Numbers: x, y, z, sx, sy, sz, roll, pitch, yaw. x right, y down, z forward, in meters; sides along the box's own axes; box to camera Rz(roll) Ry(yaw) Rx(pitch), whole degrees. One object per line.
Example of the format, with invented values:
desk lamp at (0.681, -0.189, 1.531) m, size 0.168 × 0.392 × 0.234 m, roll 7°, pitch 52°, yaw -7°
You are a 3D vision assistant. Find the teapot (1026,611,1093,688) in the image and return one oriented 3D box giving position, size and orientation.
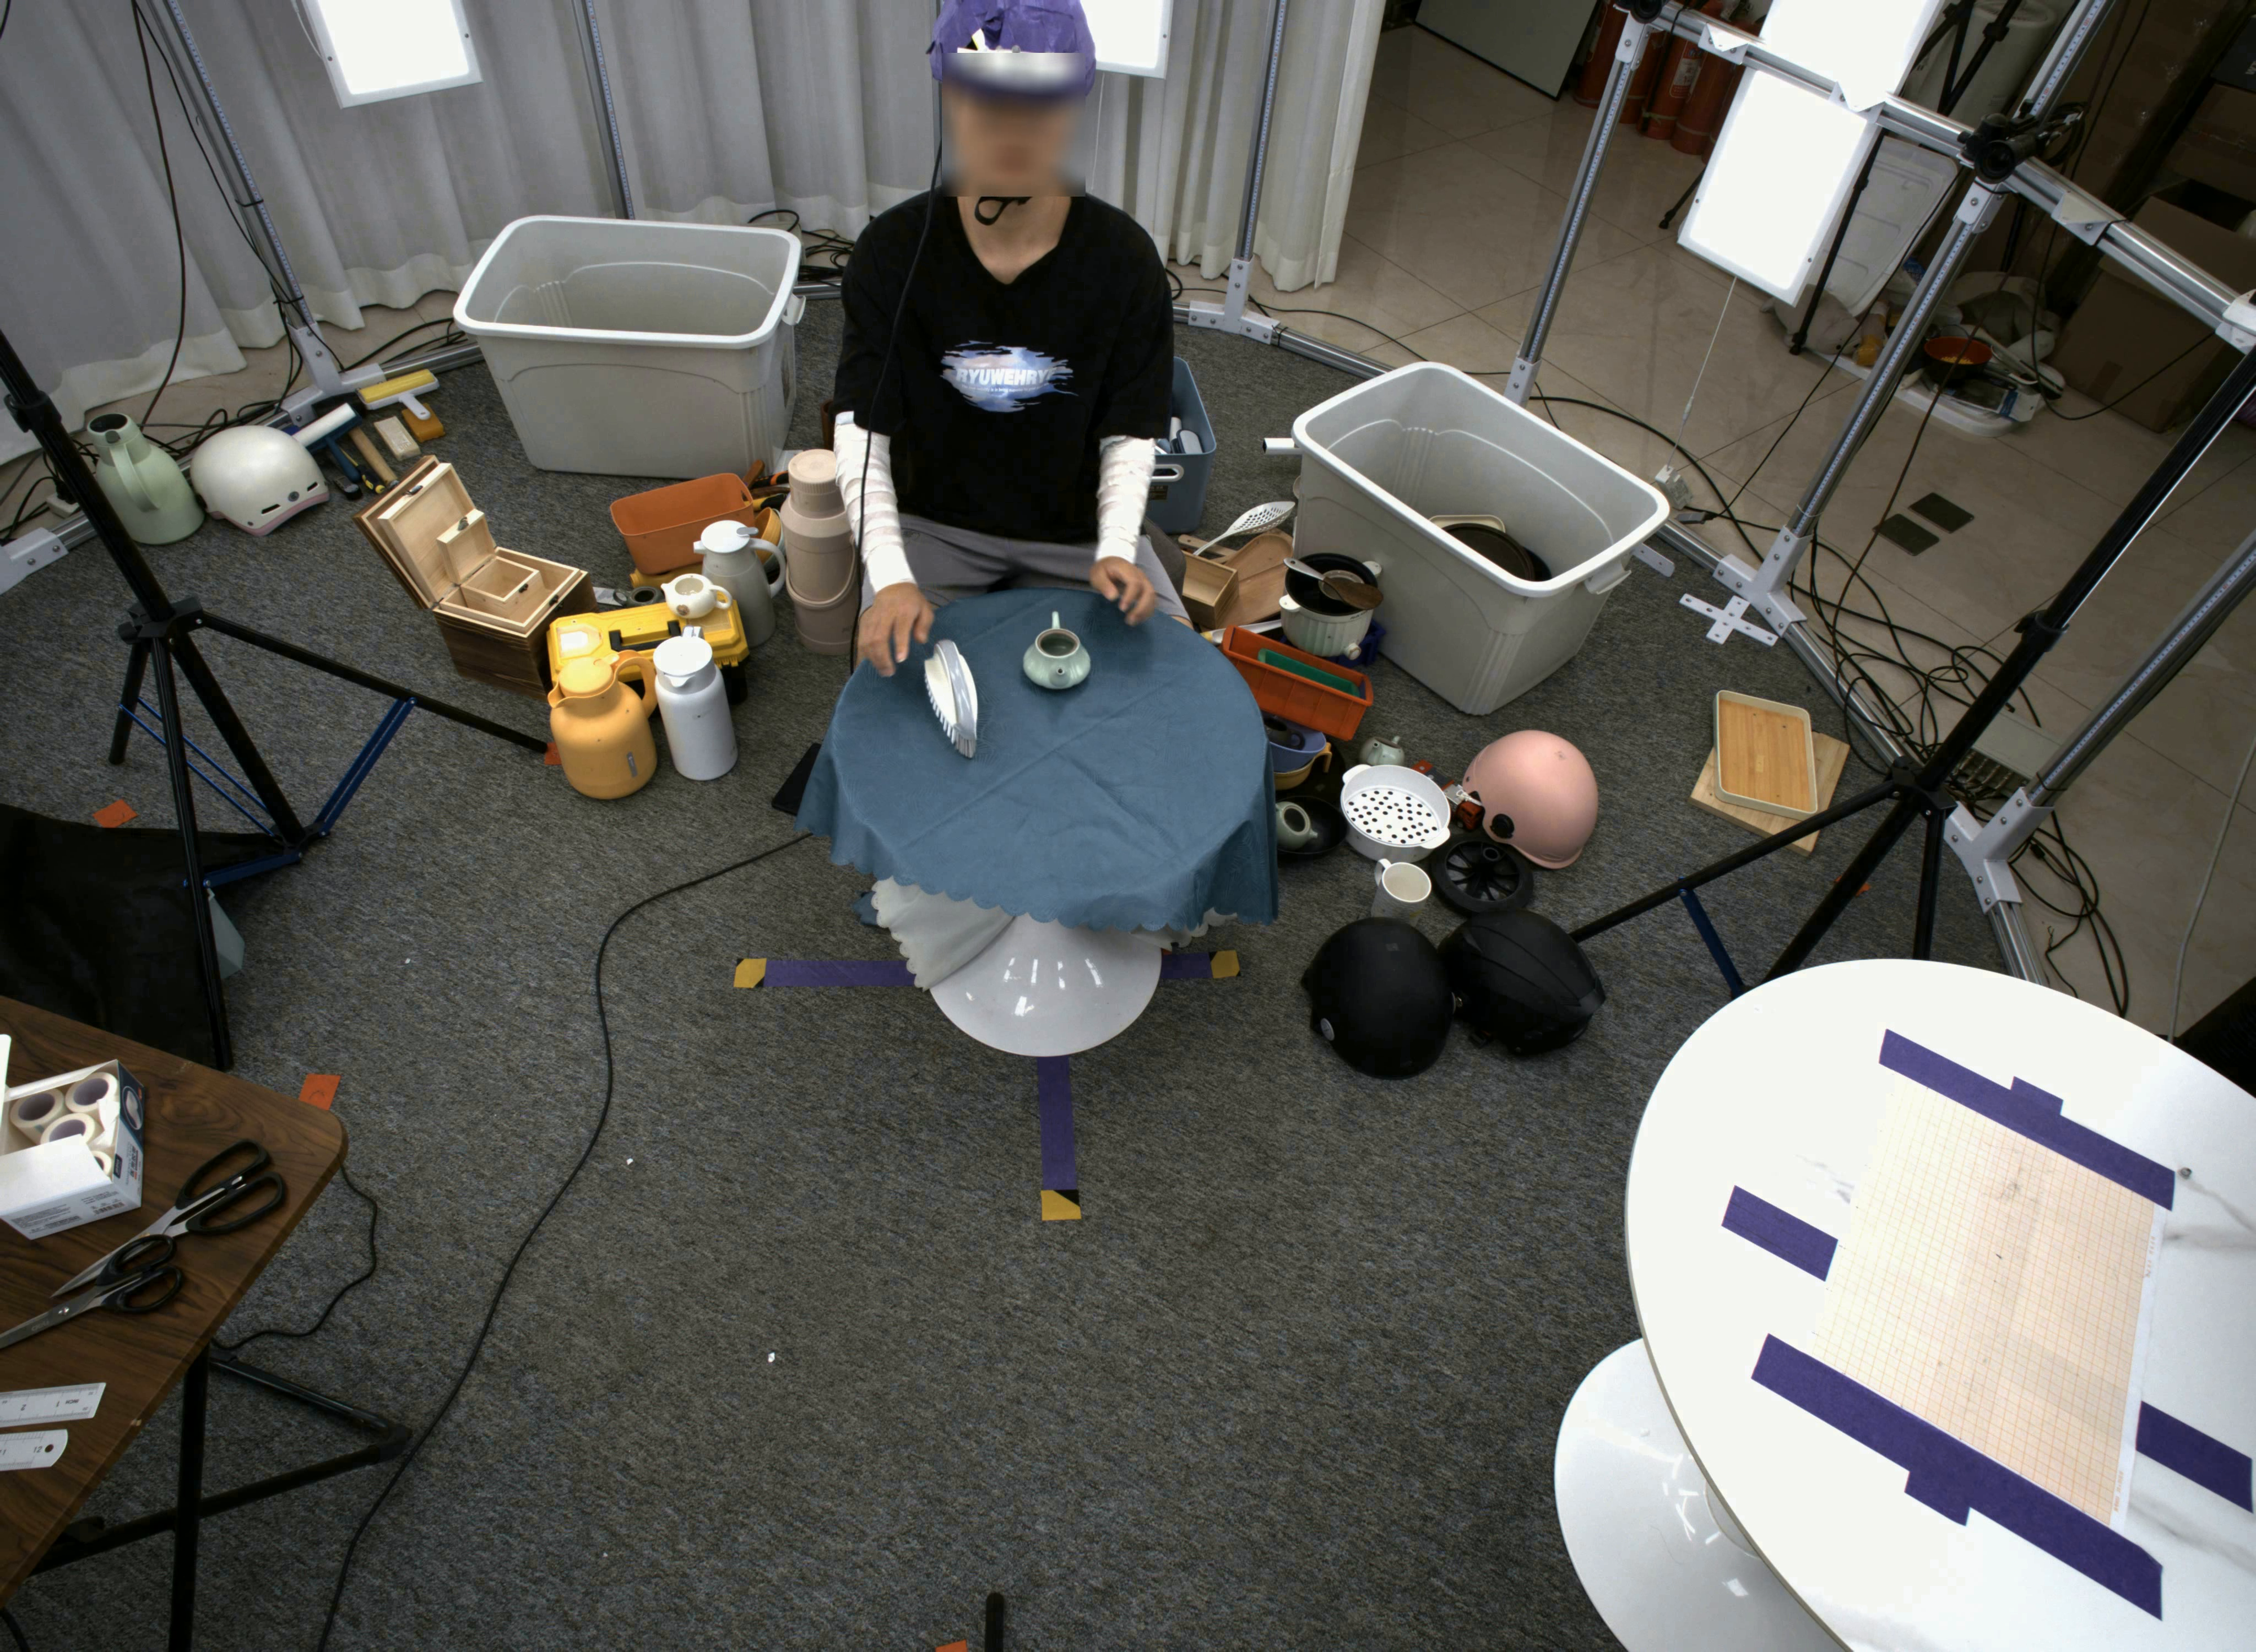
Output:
teapot at (-0.099, -0.247, 1.841) m, size 0.096 × 0.060 × 0.140 m, roll -5°, pitch 50°, yaw -5°

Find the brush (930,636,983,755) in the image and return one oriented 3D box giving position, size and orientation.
brush at (-0.232, -0.187, 1.762) m, size 0.061 × 0.092 × 0.180 m, roll -12°, pitch 53°, yaw -10°
